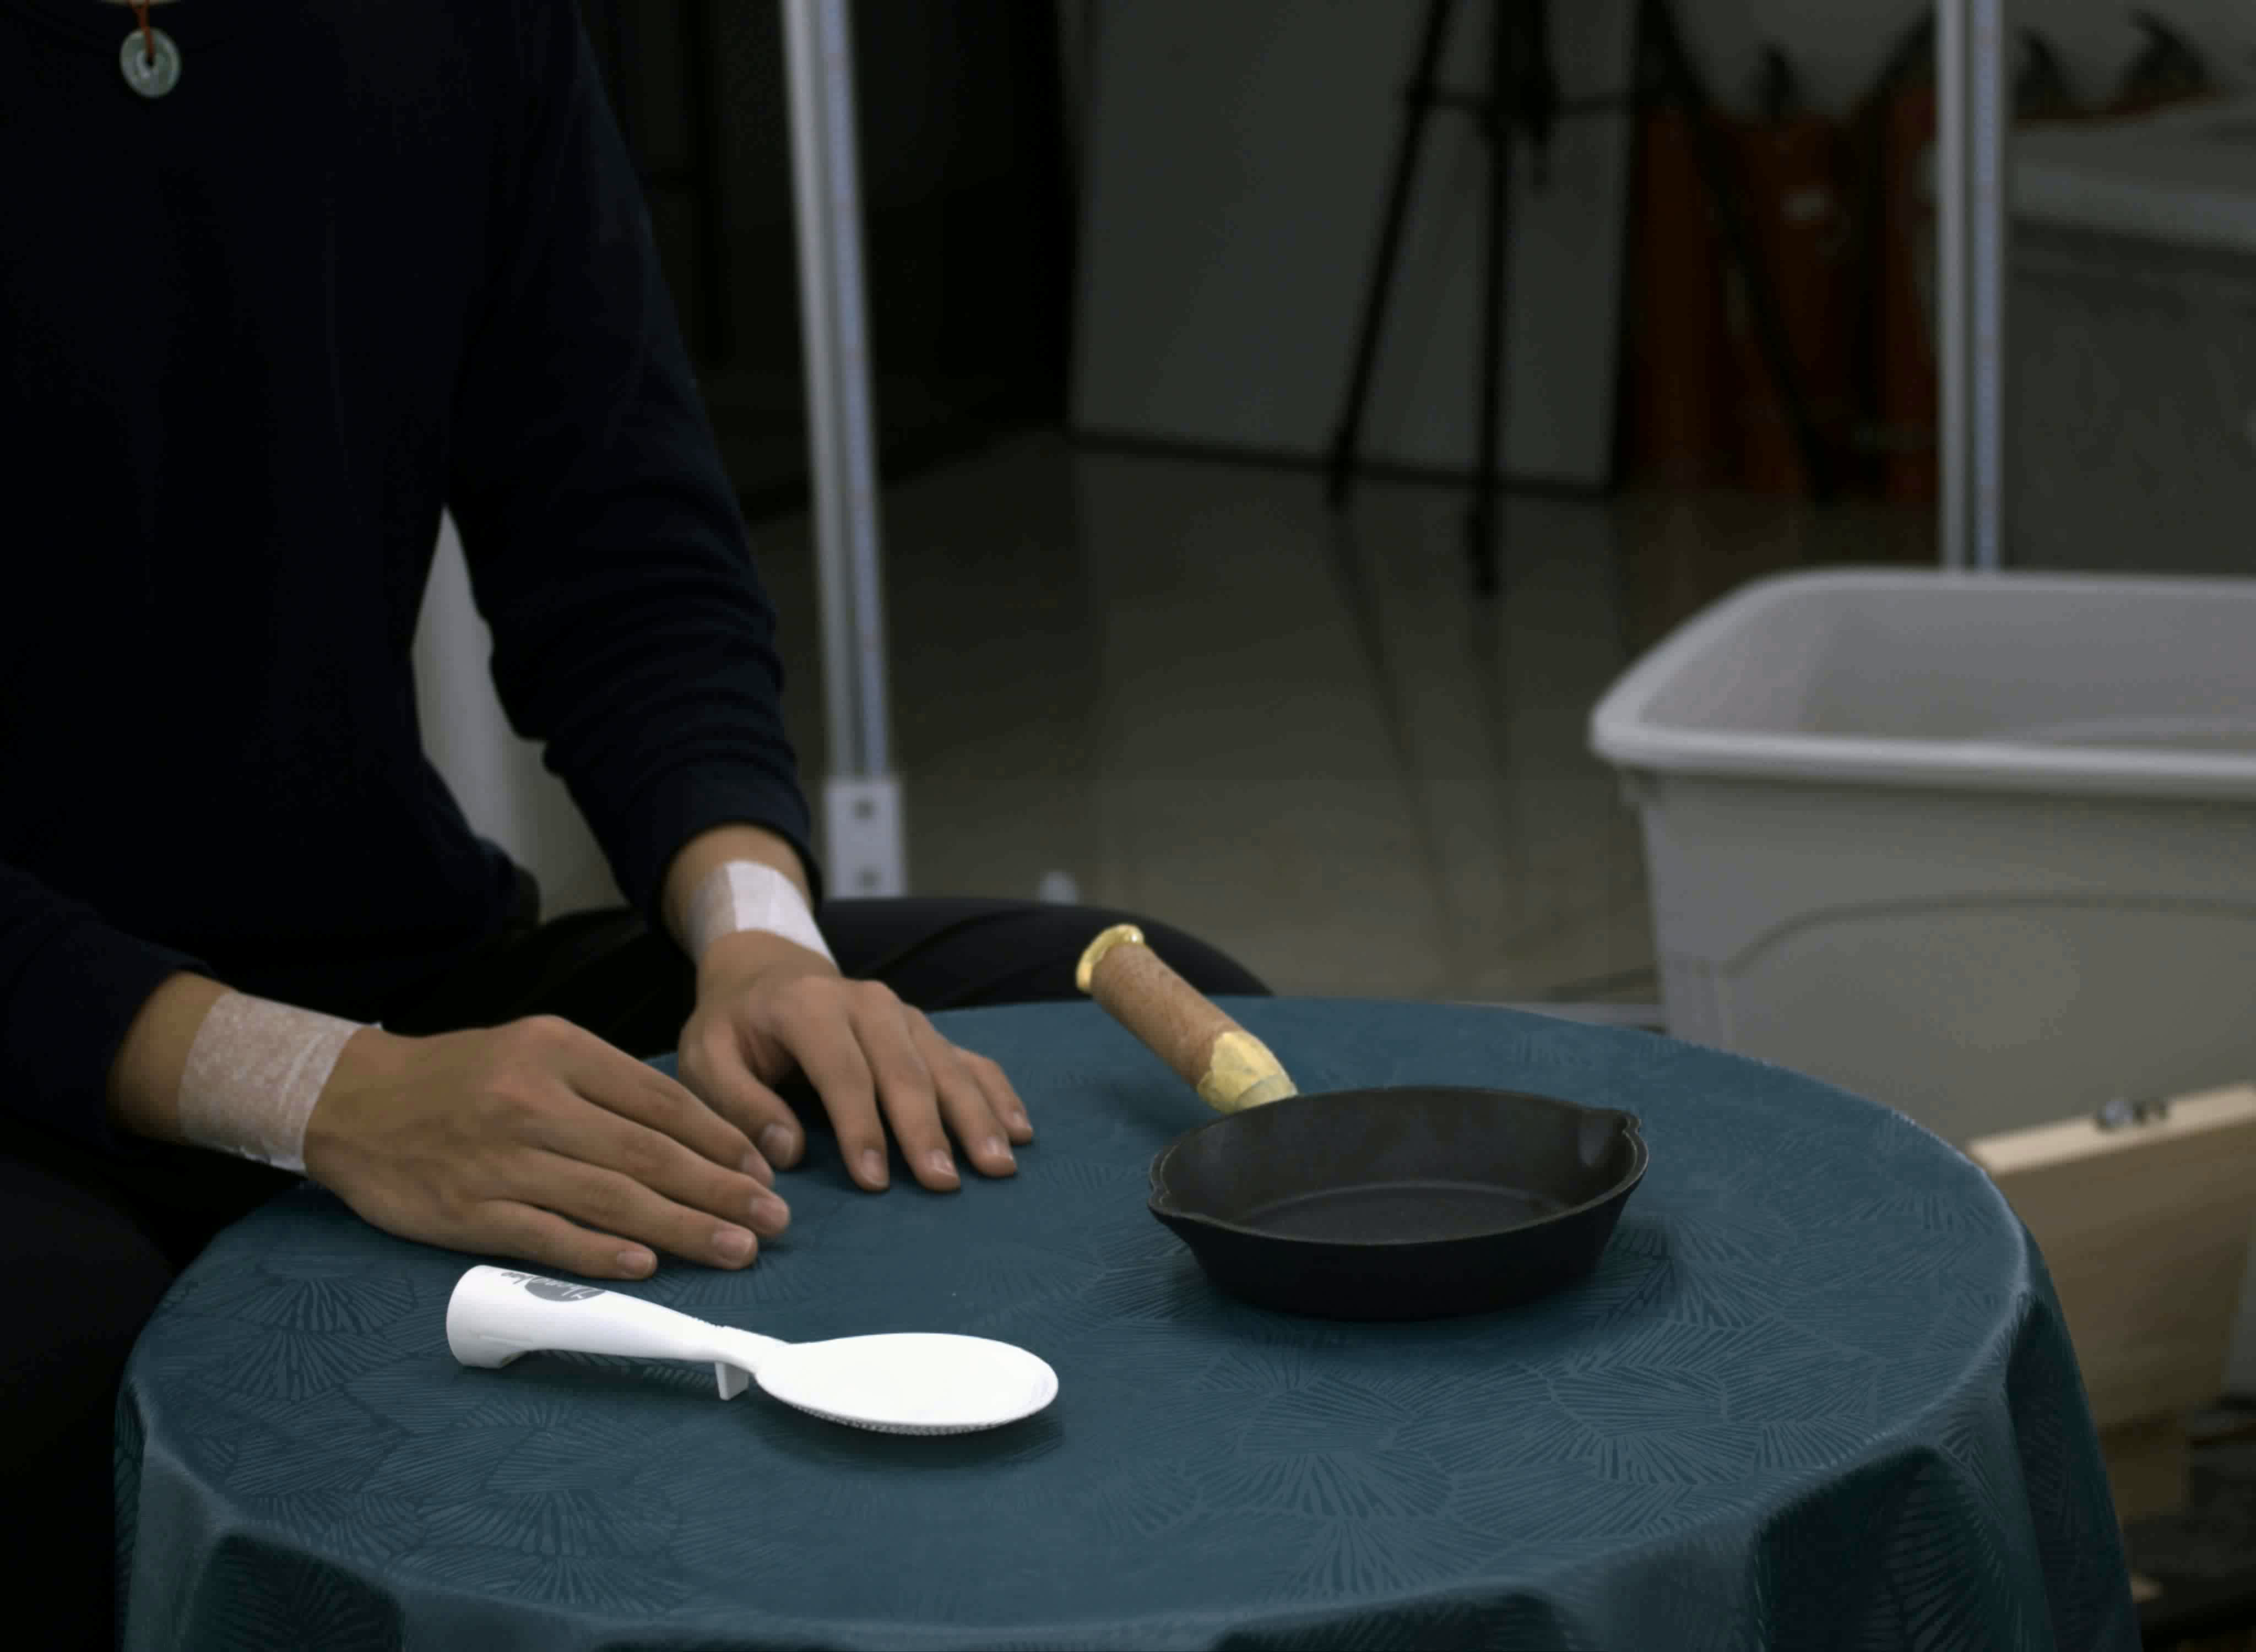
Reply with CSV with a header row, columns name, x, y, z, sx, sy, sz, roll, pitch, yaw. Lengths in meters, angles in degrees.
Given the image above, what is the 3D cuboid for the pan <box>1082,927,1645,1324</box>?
name,x,y,z,sx,sy,sz,roll,pitch,yaw
pan,0.054,0.094,1.760,0.165,0.050,0.327,-9,16,-19

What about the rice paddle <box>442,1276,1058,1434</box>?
name,x,y,z,sx,sy,sz,roll,pitch,yaw
rice paddle,-0.112,0.157,1.600,0.206,0.030,0.068,3,18,30
